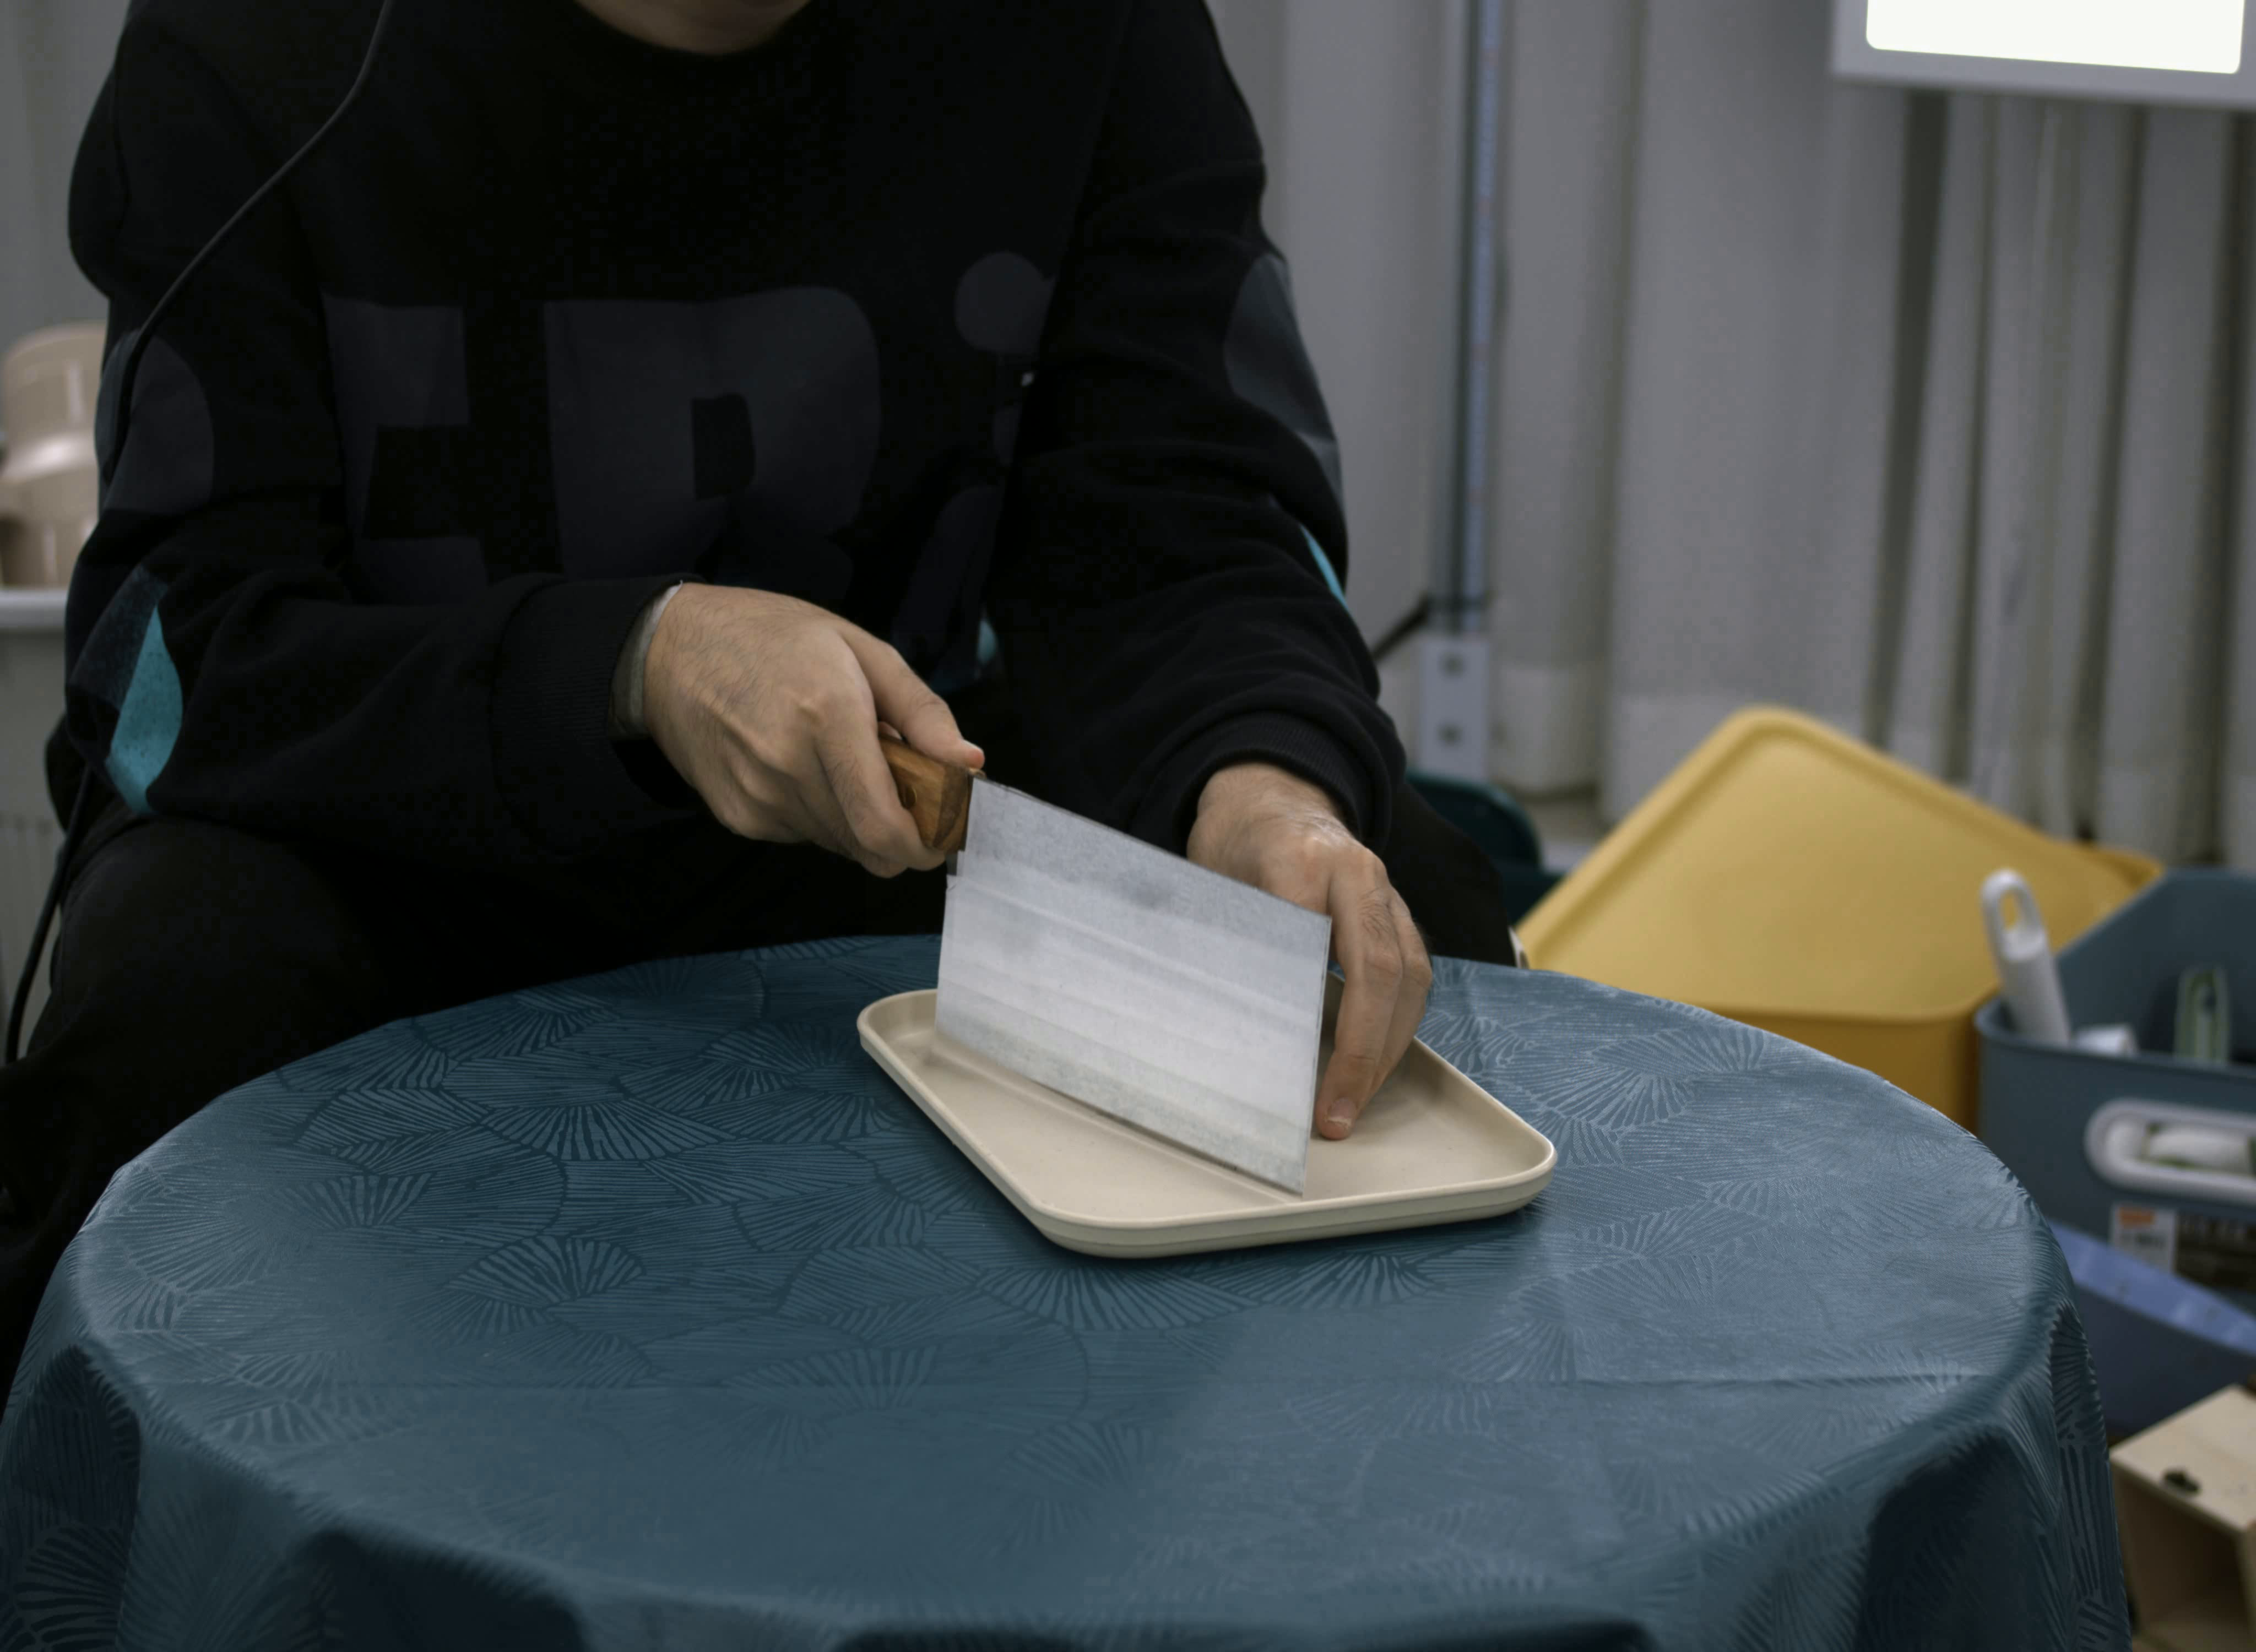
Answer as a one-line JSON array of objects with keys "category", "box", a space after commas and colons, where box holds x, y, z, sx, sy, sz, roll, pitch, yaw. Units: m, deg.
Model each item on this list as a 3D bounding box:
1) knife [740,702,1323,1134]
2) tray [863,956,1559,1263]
[{"category": "knife", "box": [-0.036, 0.030, 1.696, 0.021, 0.093, 0.301, -7, 19, -38]}, {"category": "tray", "box": [0.022, 0.088, 1.675, 0.171, 0.017, 0.237, -6, 17, -18]}]
